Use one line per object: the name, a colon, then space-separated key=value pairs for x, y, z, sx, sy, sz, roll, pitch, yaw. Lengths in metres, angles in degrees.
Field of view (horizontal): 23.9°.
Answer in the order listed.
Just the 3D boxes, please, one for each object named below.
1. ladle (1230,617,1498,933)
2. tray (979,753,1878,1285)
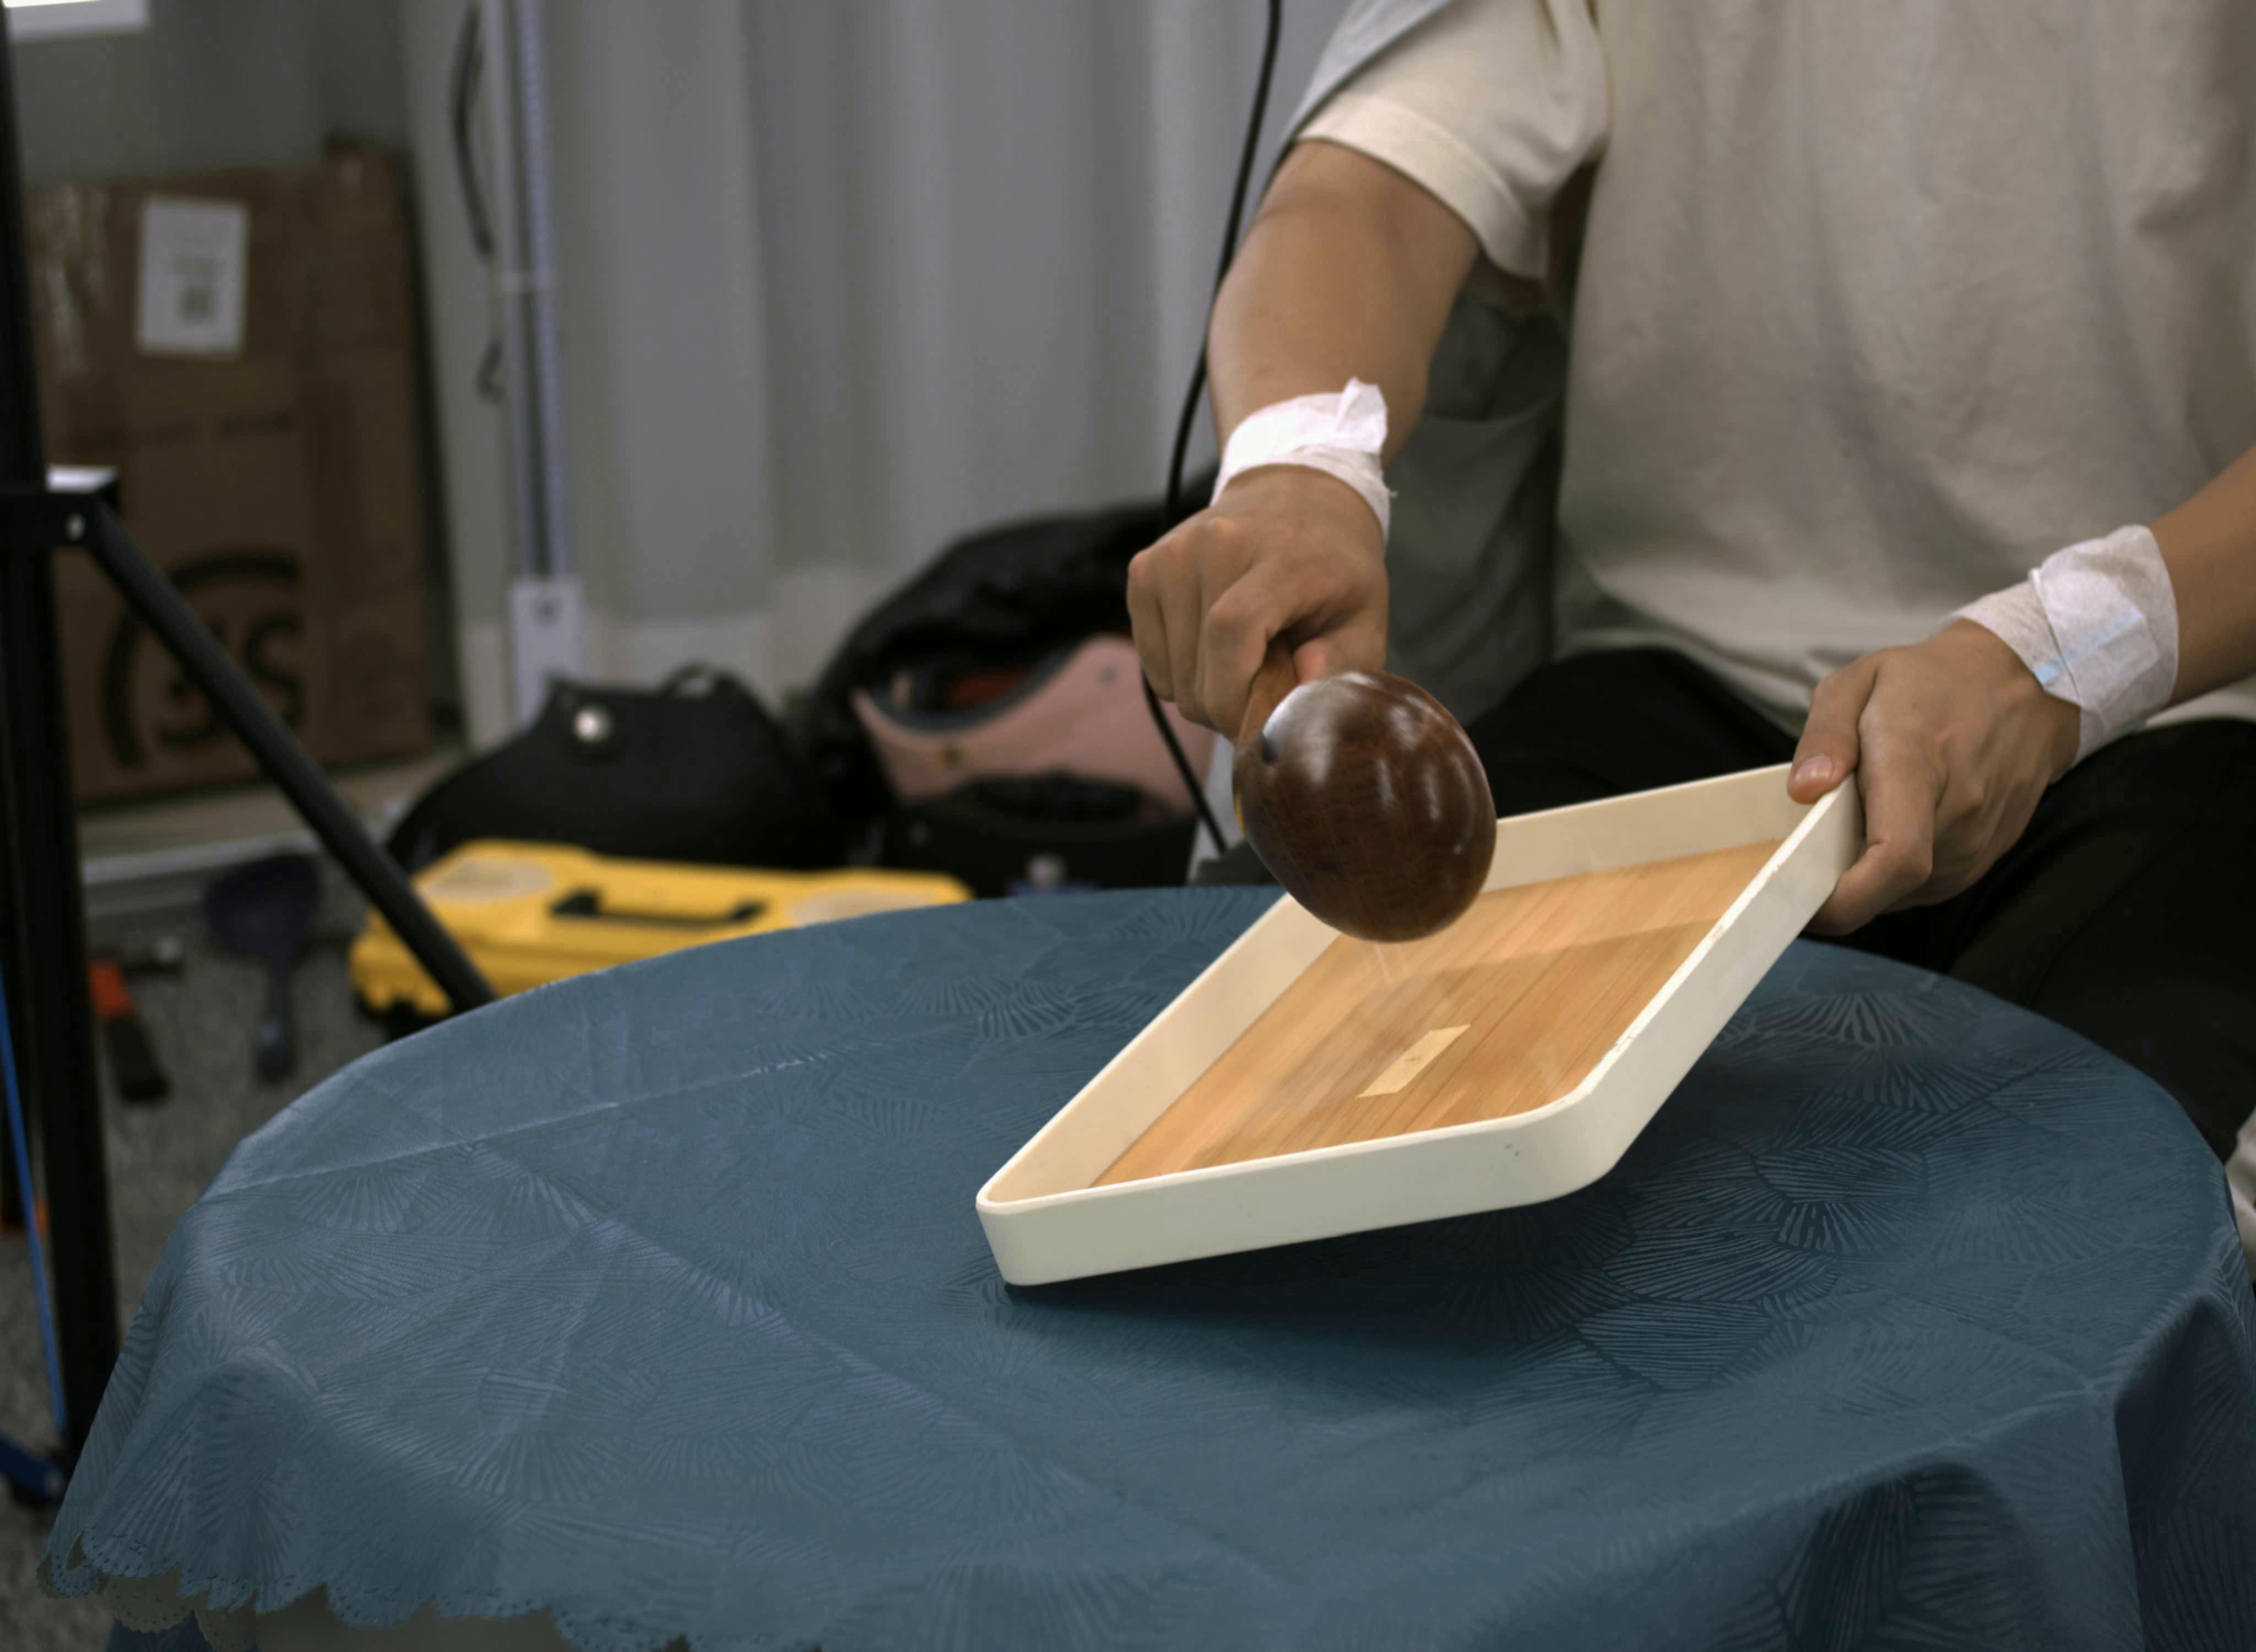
ladle: x=0.068 y=-0.033 z=1.603 sx=0.076 sy=0.082 sz=0.274 roll=-3 pitch=13 yaw=2
tray: x=0.095 y=0.054 z=1.553 sx=0.194 sy=0.027 sz=0.296 roll=-12 pitch=14 yaw=28
